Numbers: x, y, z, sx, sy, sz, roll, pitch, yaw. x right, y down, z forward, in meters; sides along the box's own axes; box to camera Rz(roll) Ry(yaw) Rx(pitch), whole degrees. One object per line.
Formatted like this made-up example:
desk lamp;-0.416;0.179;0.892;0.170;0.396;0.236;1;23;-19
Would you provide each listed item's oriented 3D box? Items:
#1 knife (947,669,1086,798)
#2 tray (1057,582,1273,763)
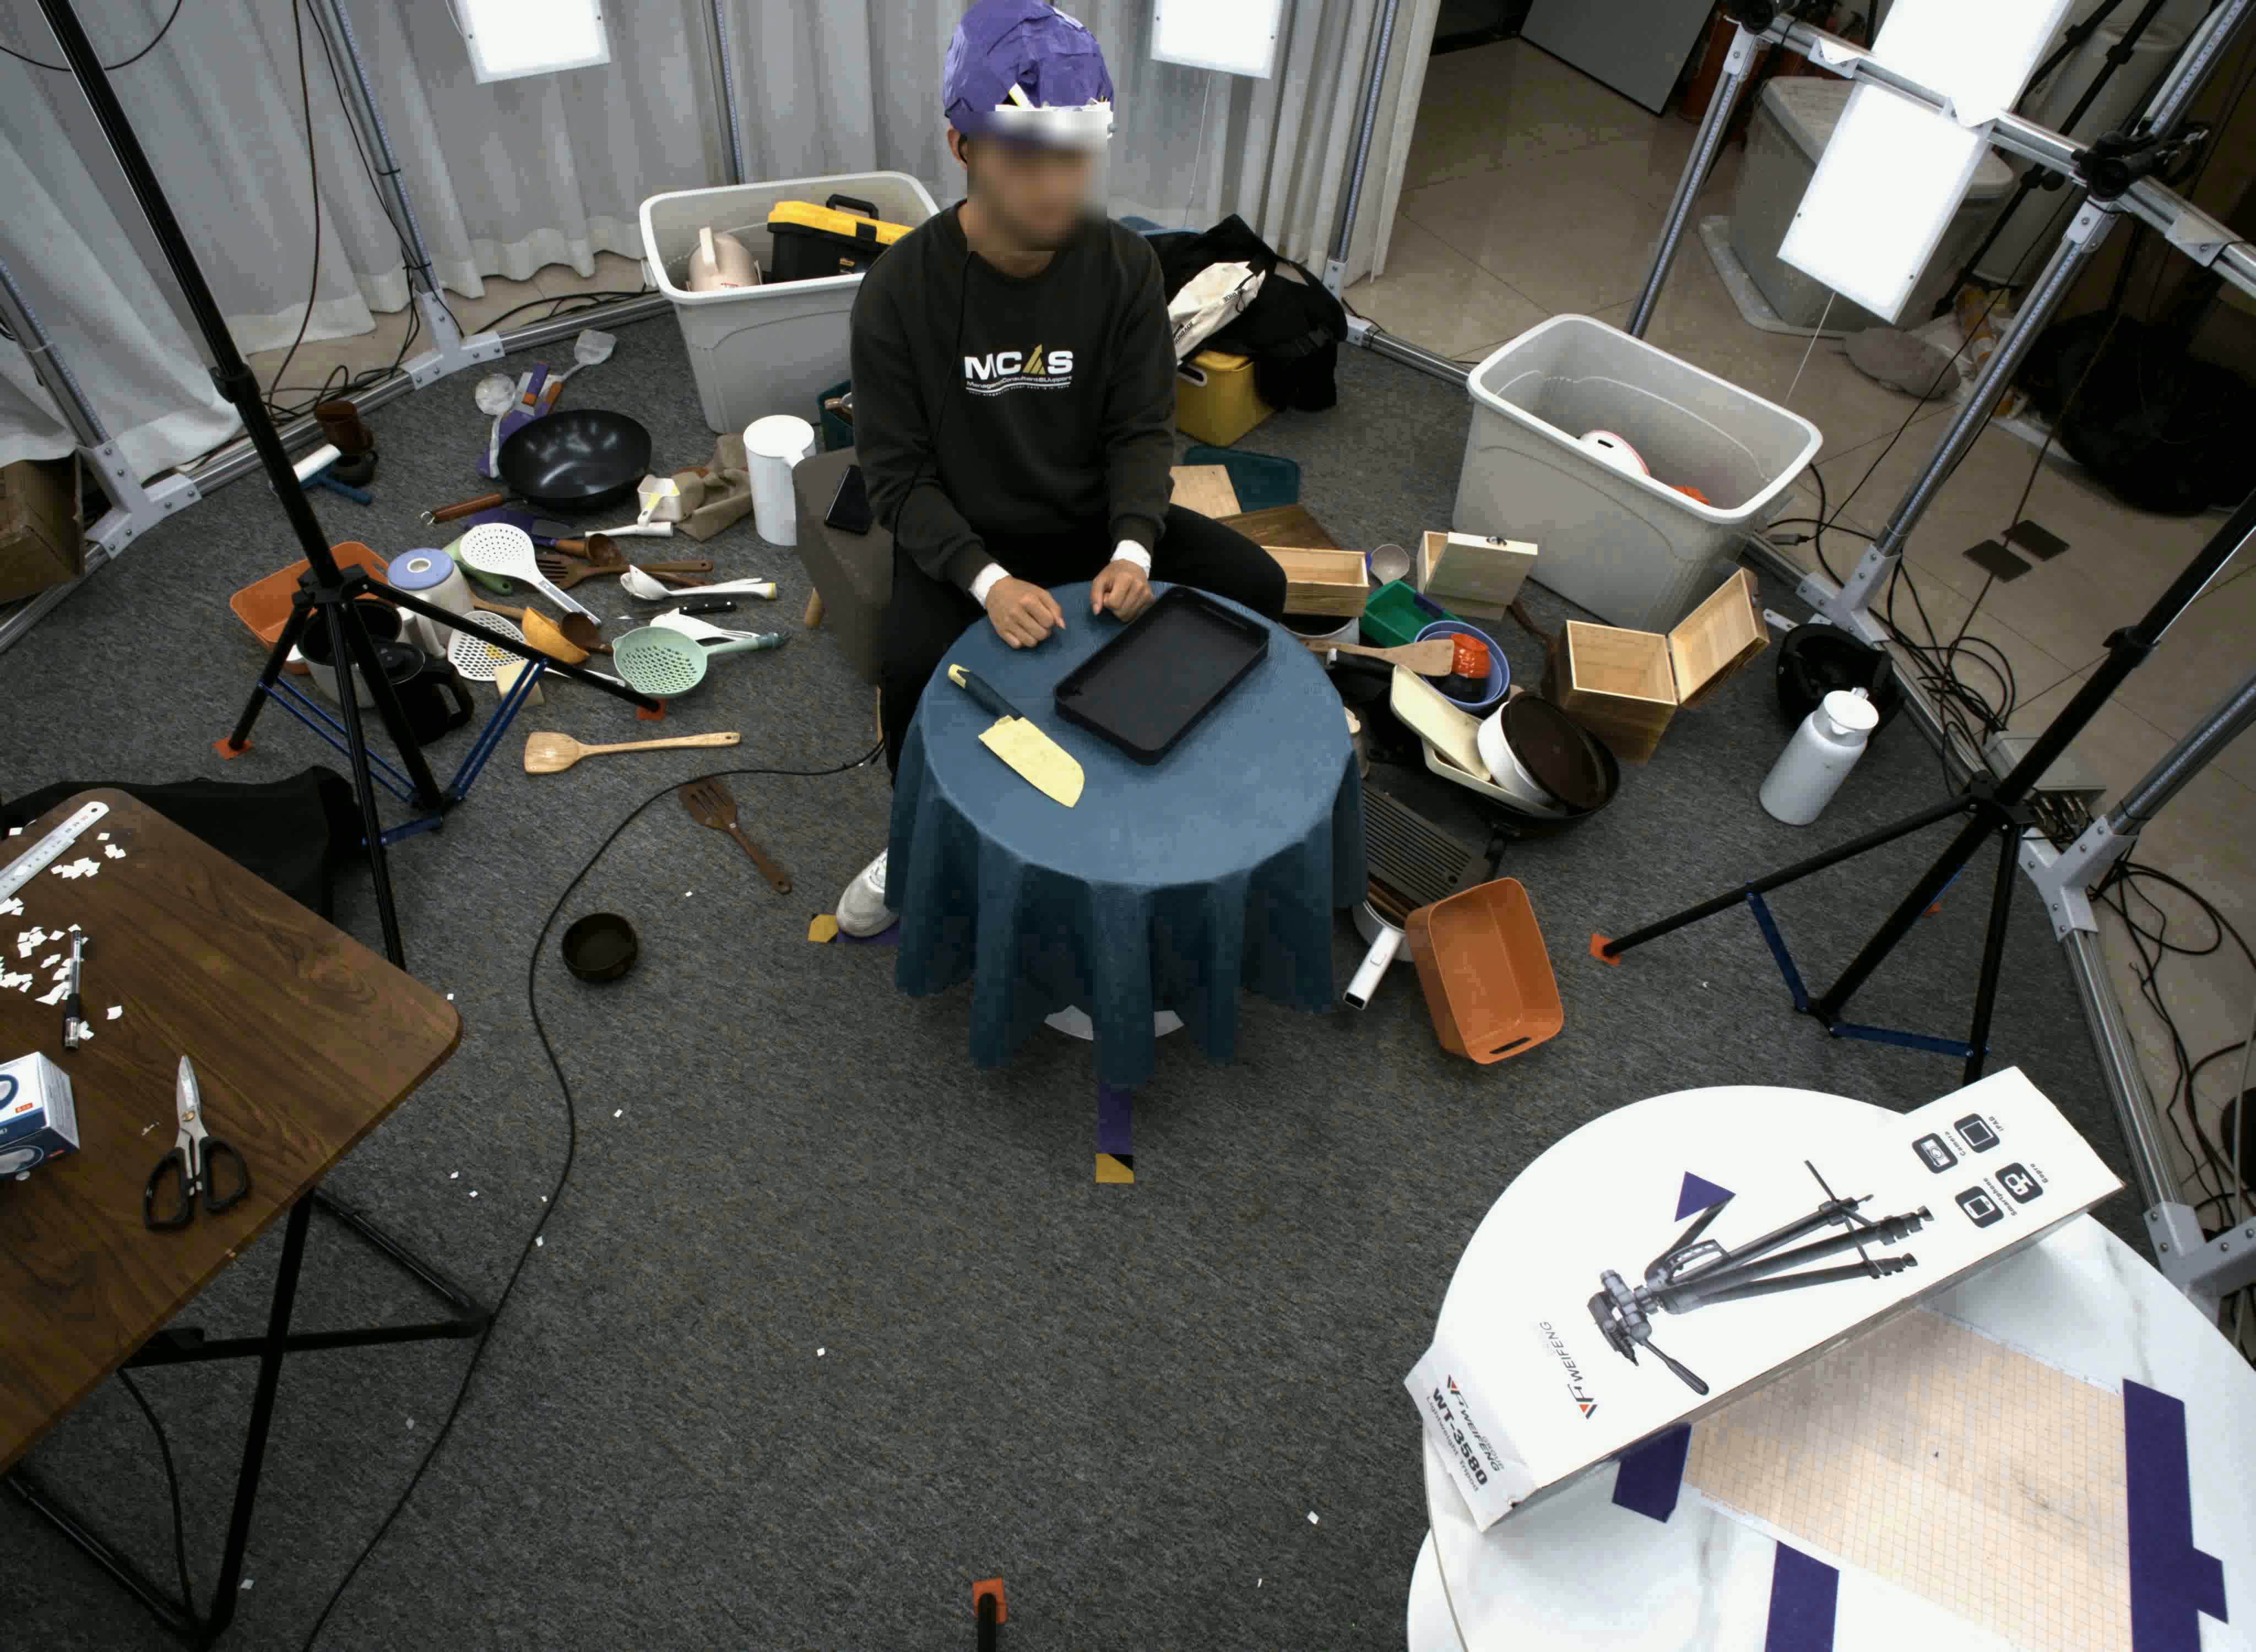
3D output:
knife;-0.161;-0.126;1.756;0.081;0.026;0.294;-32;59;-29
tray;0.057;-0.227;1.845;0.186;0.036;0.322;29;53;20
